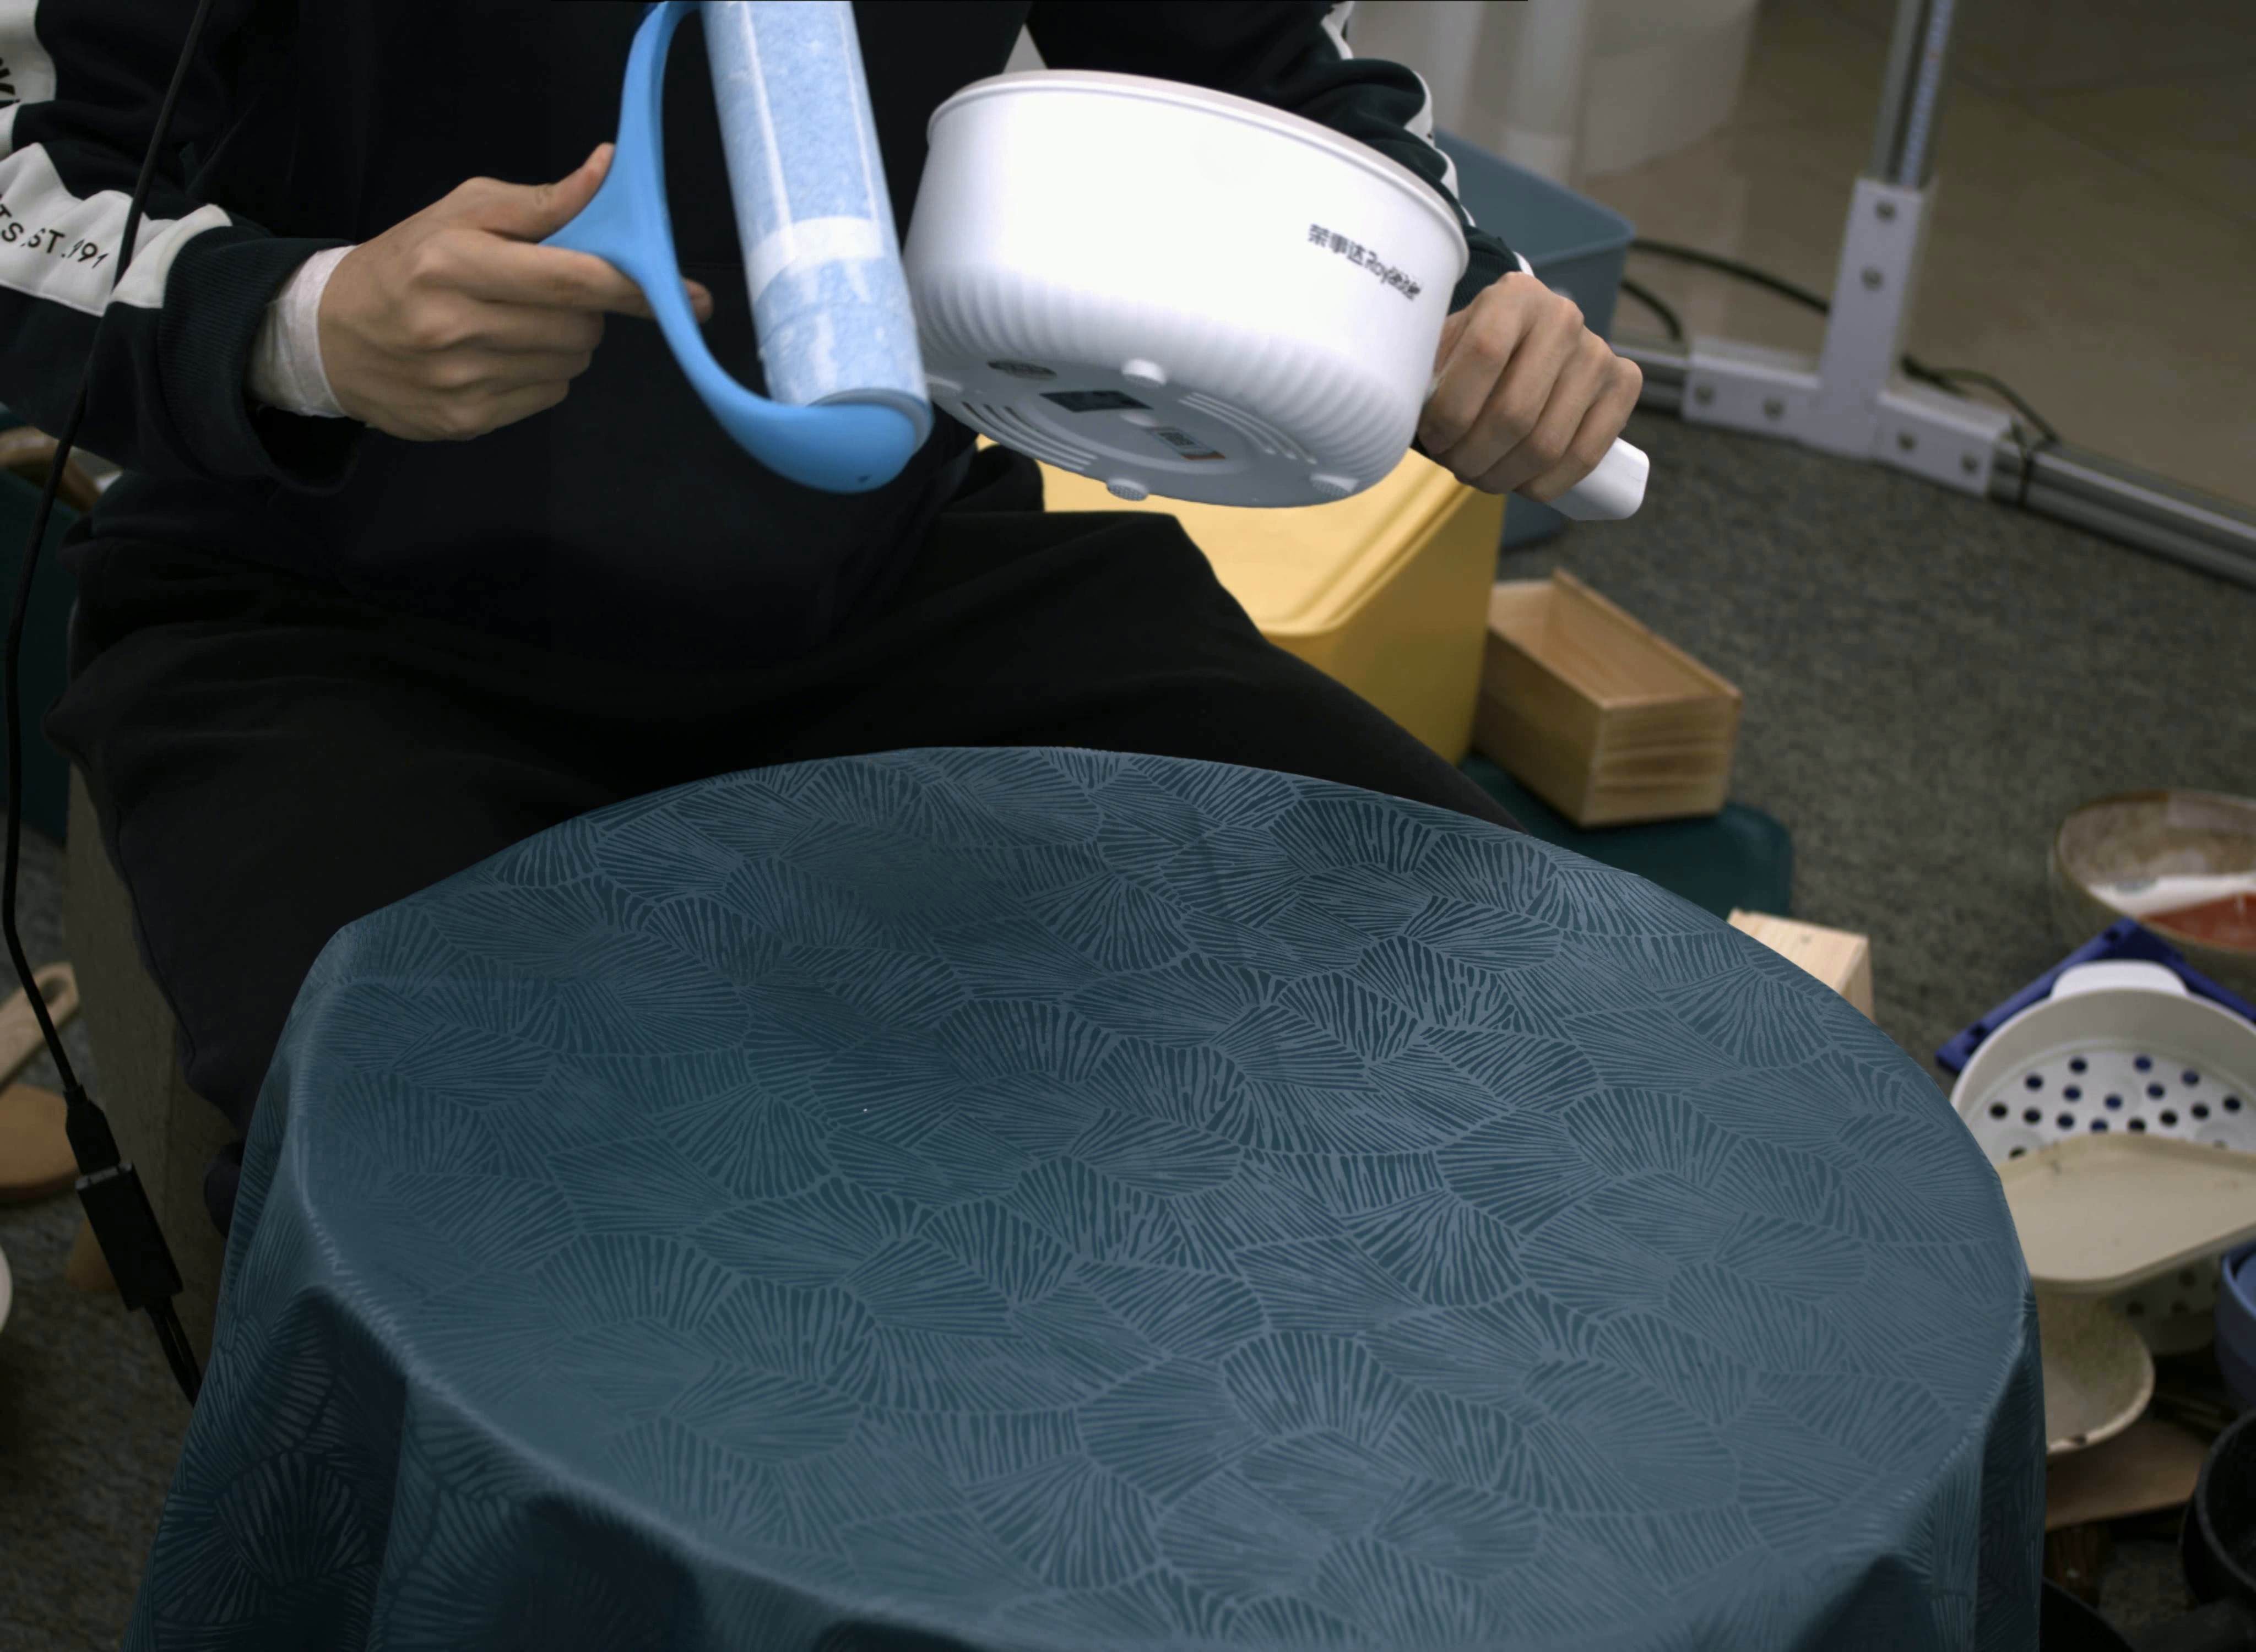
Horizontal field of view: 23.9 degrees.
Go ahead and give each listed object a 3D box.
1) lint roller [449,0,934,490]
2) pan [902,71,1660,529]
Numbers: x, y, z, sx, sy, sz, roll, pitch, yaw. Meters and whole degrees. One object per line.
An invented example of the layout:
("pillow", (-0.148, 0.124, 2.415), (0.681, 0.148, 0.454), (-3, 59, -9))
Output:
("lint roller", (-0.164, -0.193, 1.845), (0.180, 0.067, 0.231), (-21, 60, 10))
("pan", (0.066, -0.158, 1.966), (0.202, 0.102, 0.351), (0, -20, 45))
